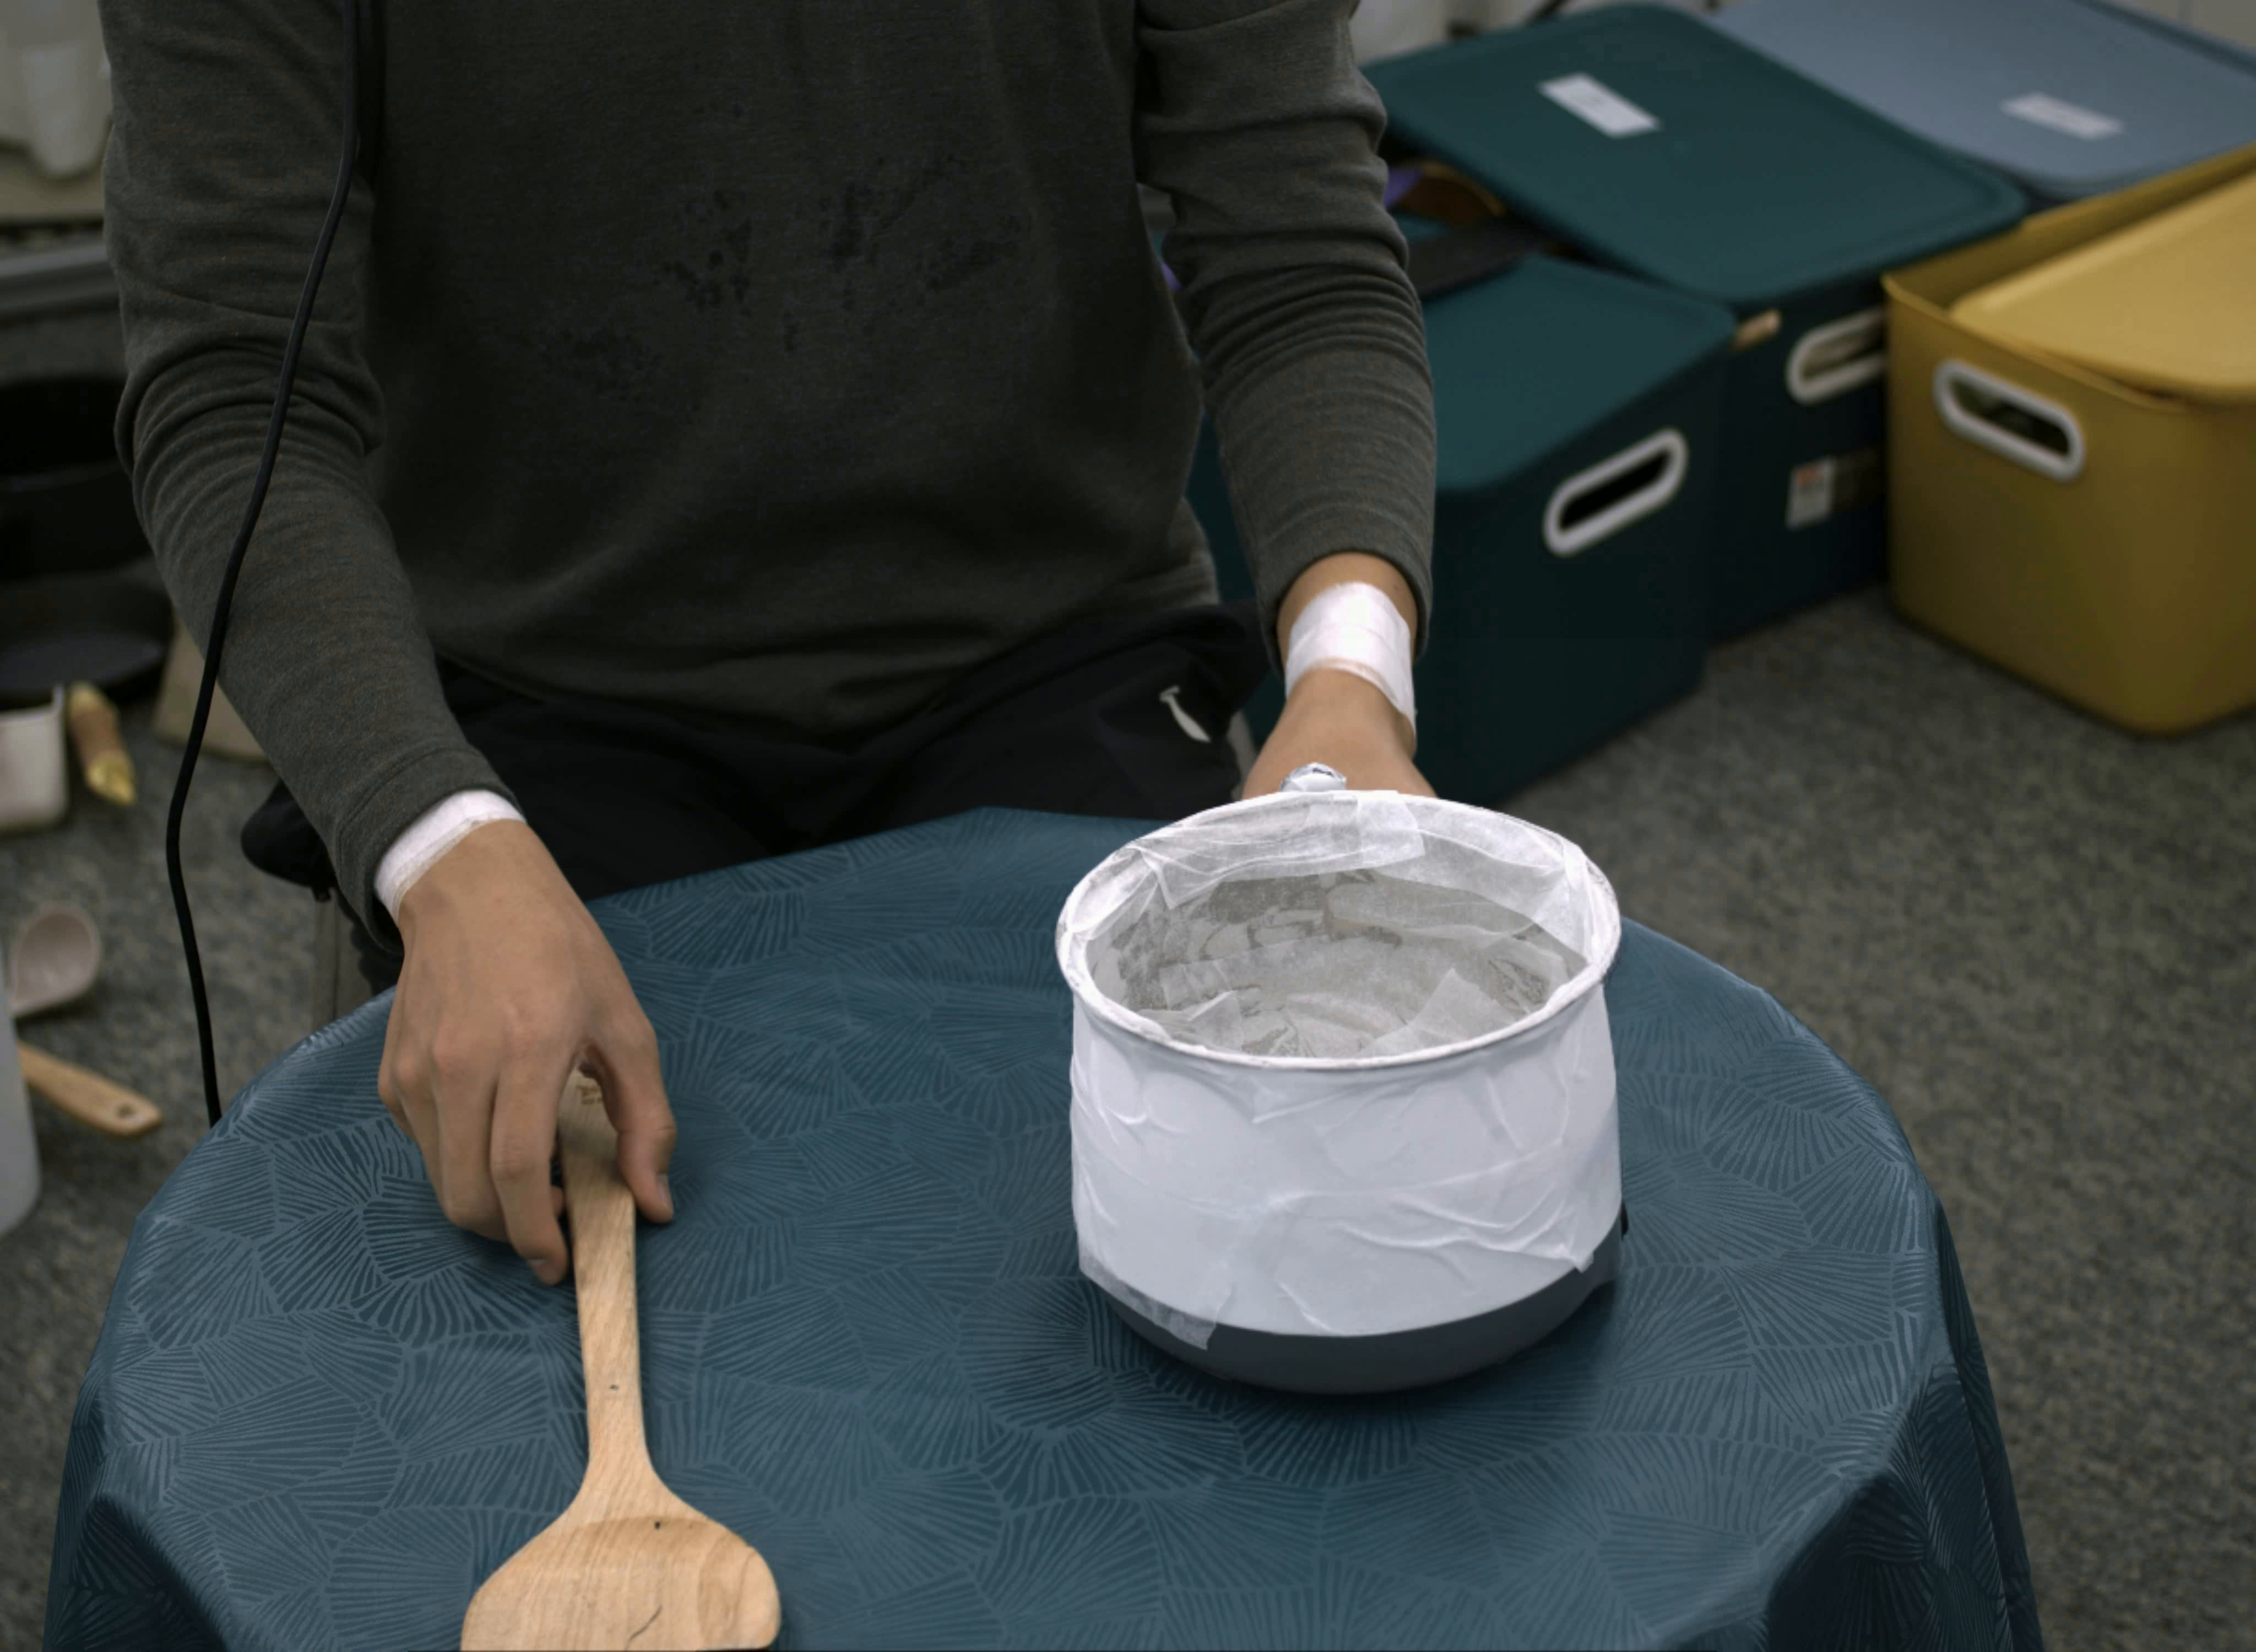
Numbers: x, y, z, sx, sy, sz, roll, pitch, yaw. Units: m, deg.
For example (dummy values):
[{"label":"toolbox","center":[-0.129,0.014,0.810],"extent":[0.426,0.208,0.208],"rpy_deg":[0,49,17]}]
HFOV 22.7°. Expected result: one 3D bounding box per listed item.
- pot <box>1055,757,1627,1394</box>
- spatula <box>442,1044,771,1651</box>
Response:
[{"label":"pot","center":[0.067,0.072,1.802],"extent":[0.178,0.135,0.237],"rpy_deg":[-4,27,-2]},{"label":"spatula","center":[-0.171,0.164,1.777],"extent":[0.095,0.018,0.396],"rpy_deg":[-4,27,-6]}]
